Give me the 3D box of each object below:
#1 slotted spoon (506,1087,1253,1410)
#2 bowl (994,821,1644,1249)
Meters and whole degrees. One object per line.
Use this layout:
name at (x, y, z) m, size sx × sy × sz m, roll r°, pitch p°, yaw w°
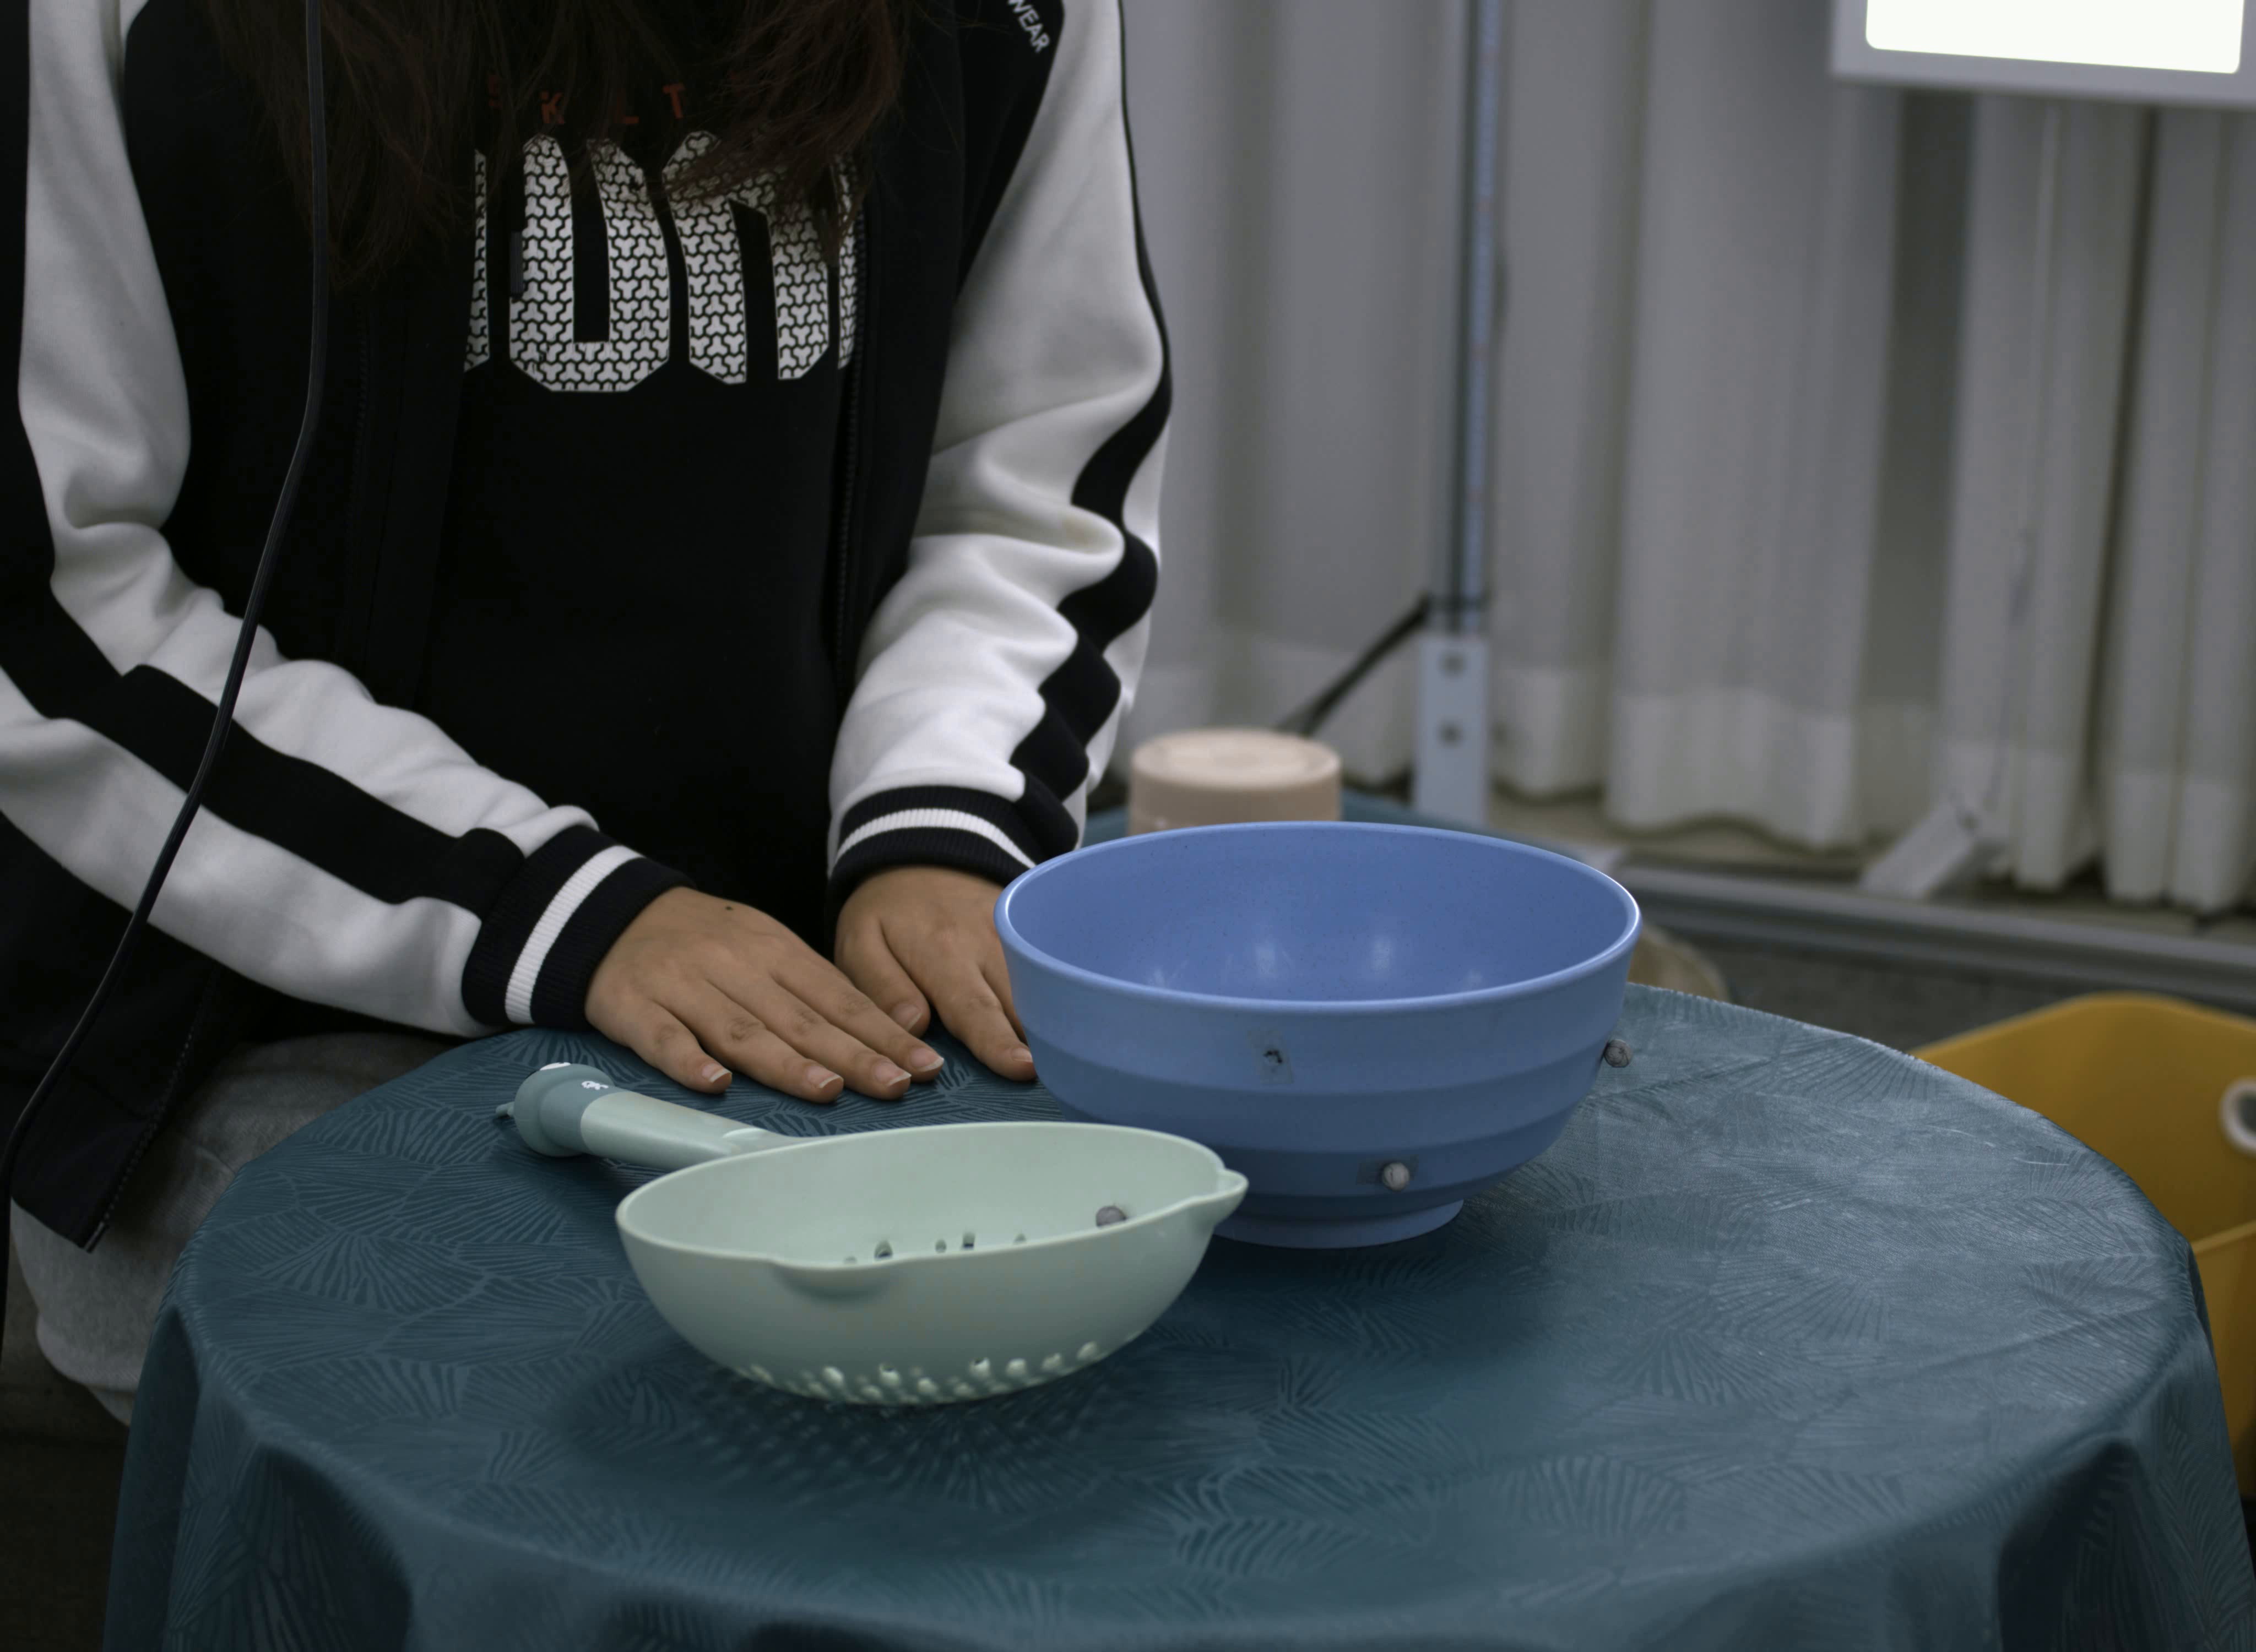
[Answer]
slotted spoon at (-0.105, 0.106, 1.533) m, size 0.170 × 0.076 × 0.354 m, roll -8°, pitch 16°, yaw -30°
bowl at (0.057, 0.069, 1.601) m, size 0.196 × 0.096 × 0.195 m, roll 0°, pitch 16°, yaw 0°
